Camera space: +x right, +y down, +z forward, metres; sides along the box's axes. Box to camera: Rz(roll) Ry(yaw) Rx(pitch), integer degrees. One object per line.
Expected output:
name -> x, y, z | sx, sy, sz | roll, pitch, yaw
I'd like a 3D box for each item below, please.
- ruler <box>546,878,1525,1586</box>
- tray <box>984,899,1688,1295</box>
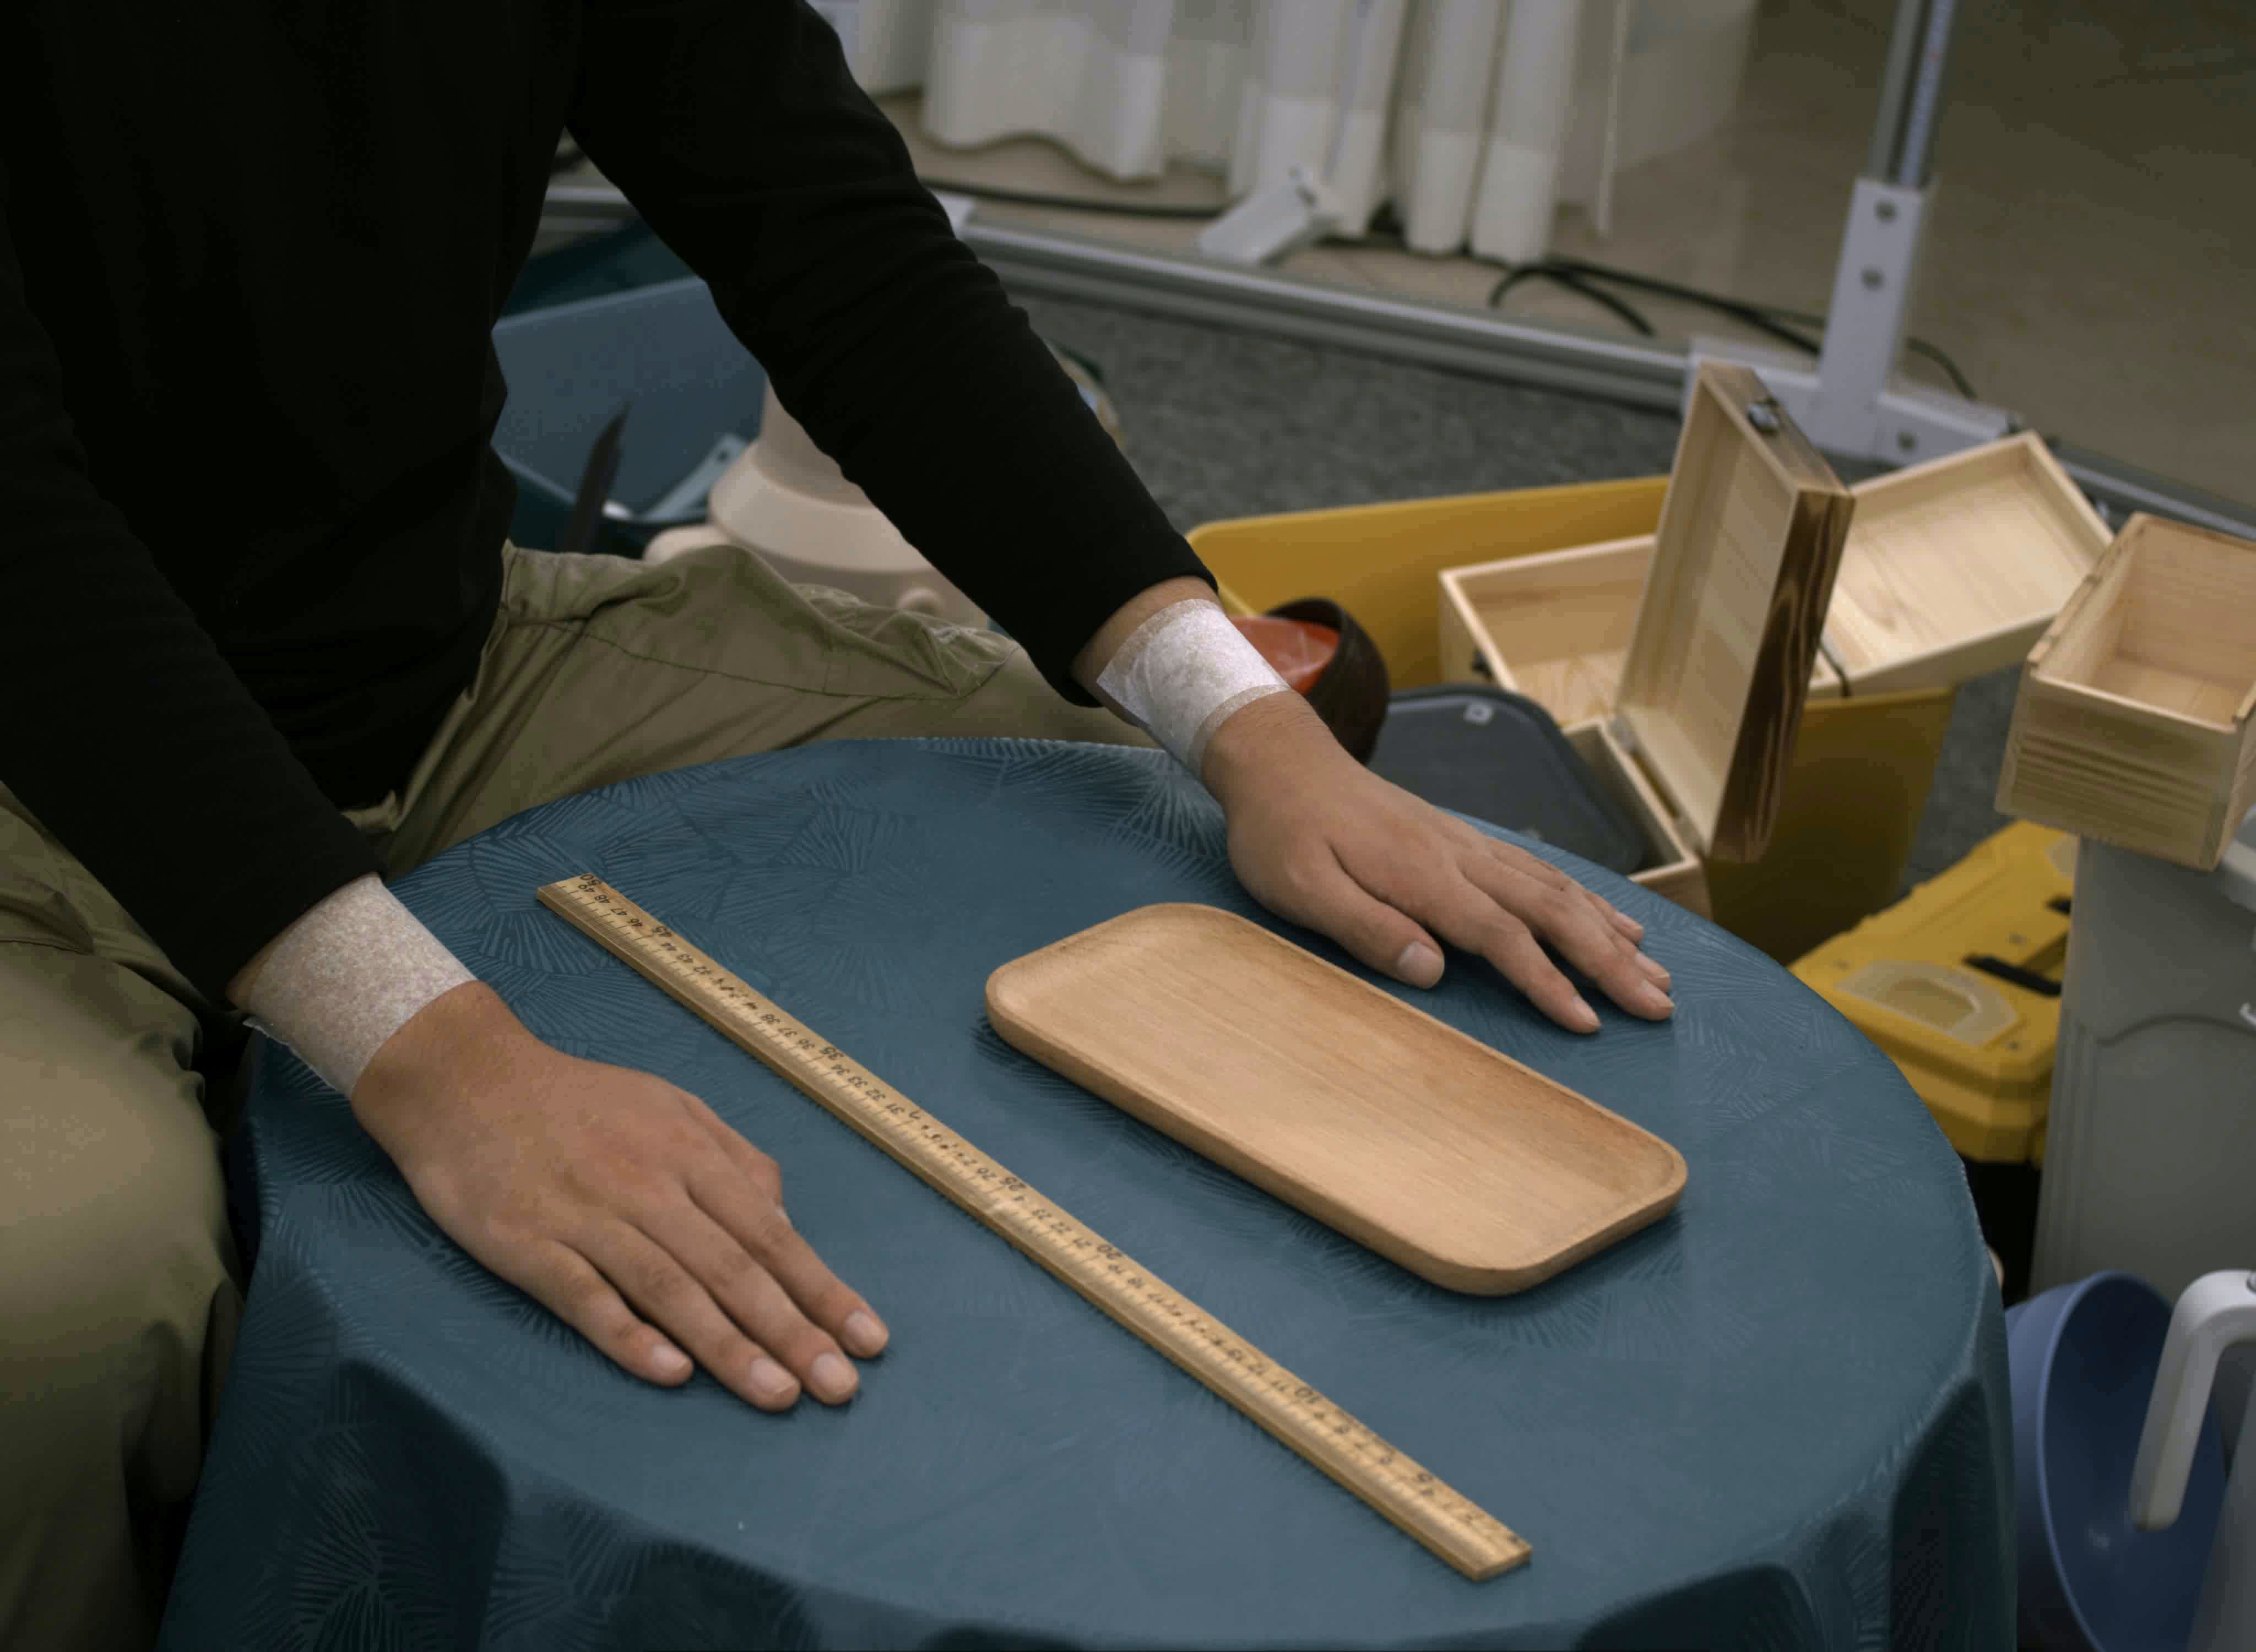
ruler -> -0.045, 0.124, 1.785 | 0.026, 0.006, 0.504 | -14, 33, -38
tray -> 0.070, 0.092, 1.861 | 0.252, 0.023, 0.130 | 27, 31, 37
